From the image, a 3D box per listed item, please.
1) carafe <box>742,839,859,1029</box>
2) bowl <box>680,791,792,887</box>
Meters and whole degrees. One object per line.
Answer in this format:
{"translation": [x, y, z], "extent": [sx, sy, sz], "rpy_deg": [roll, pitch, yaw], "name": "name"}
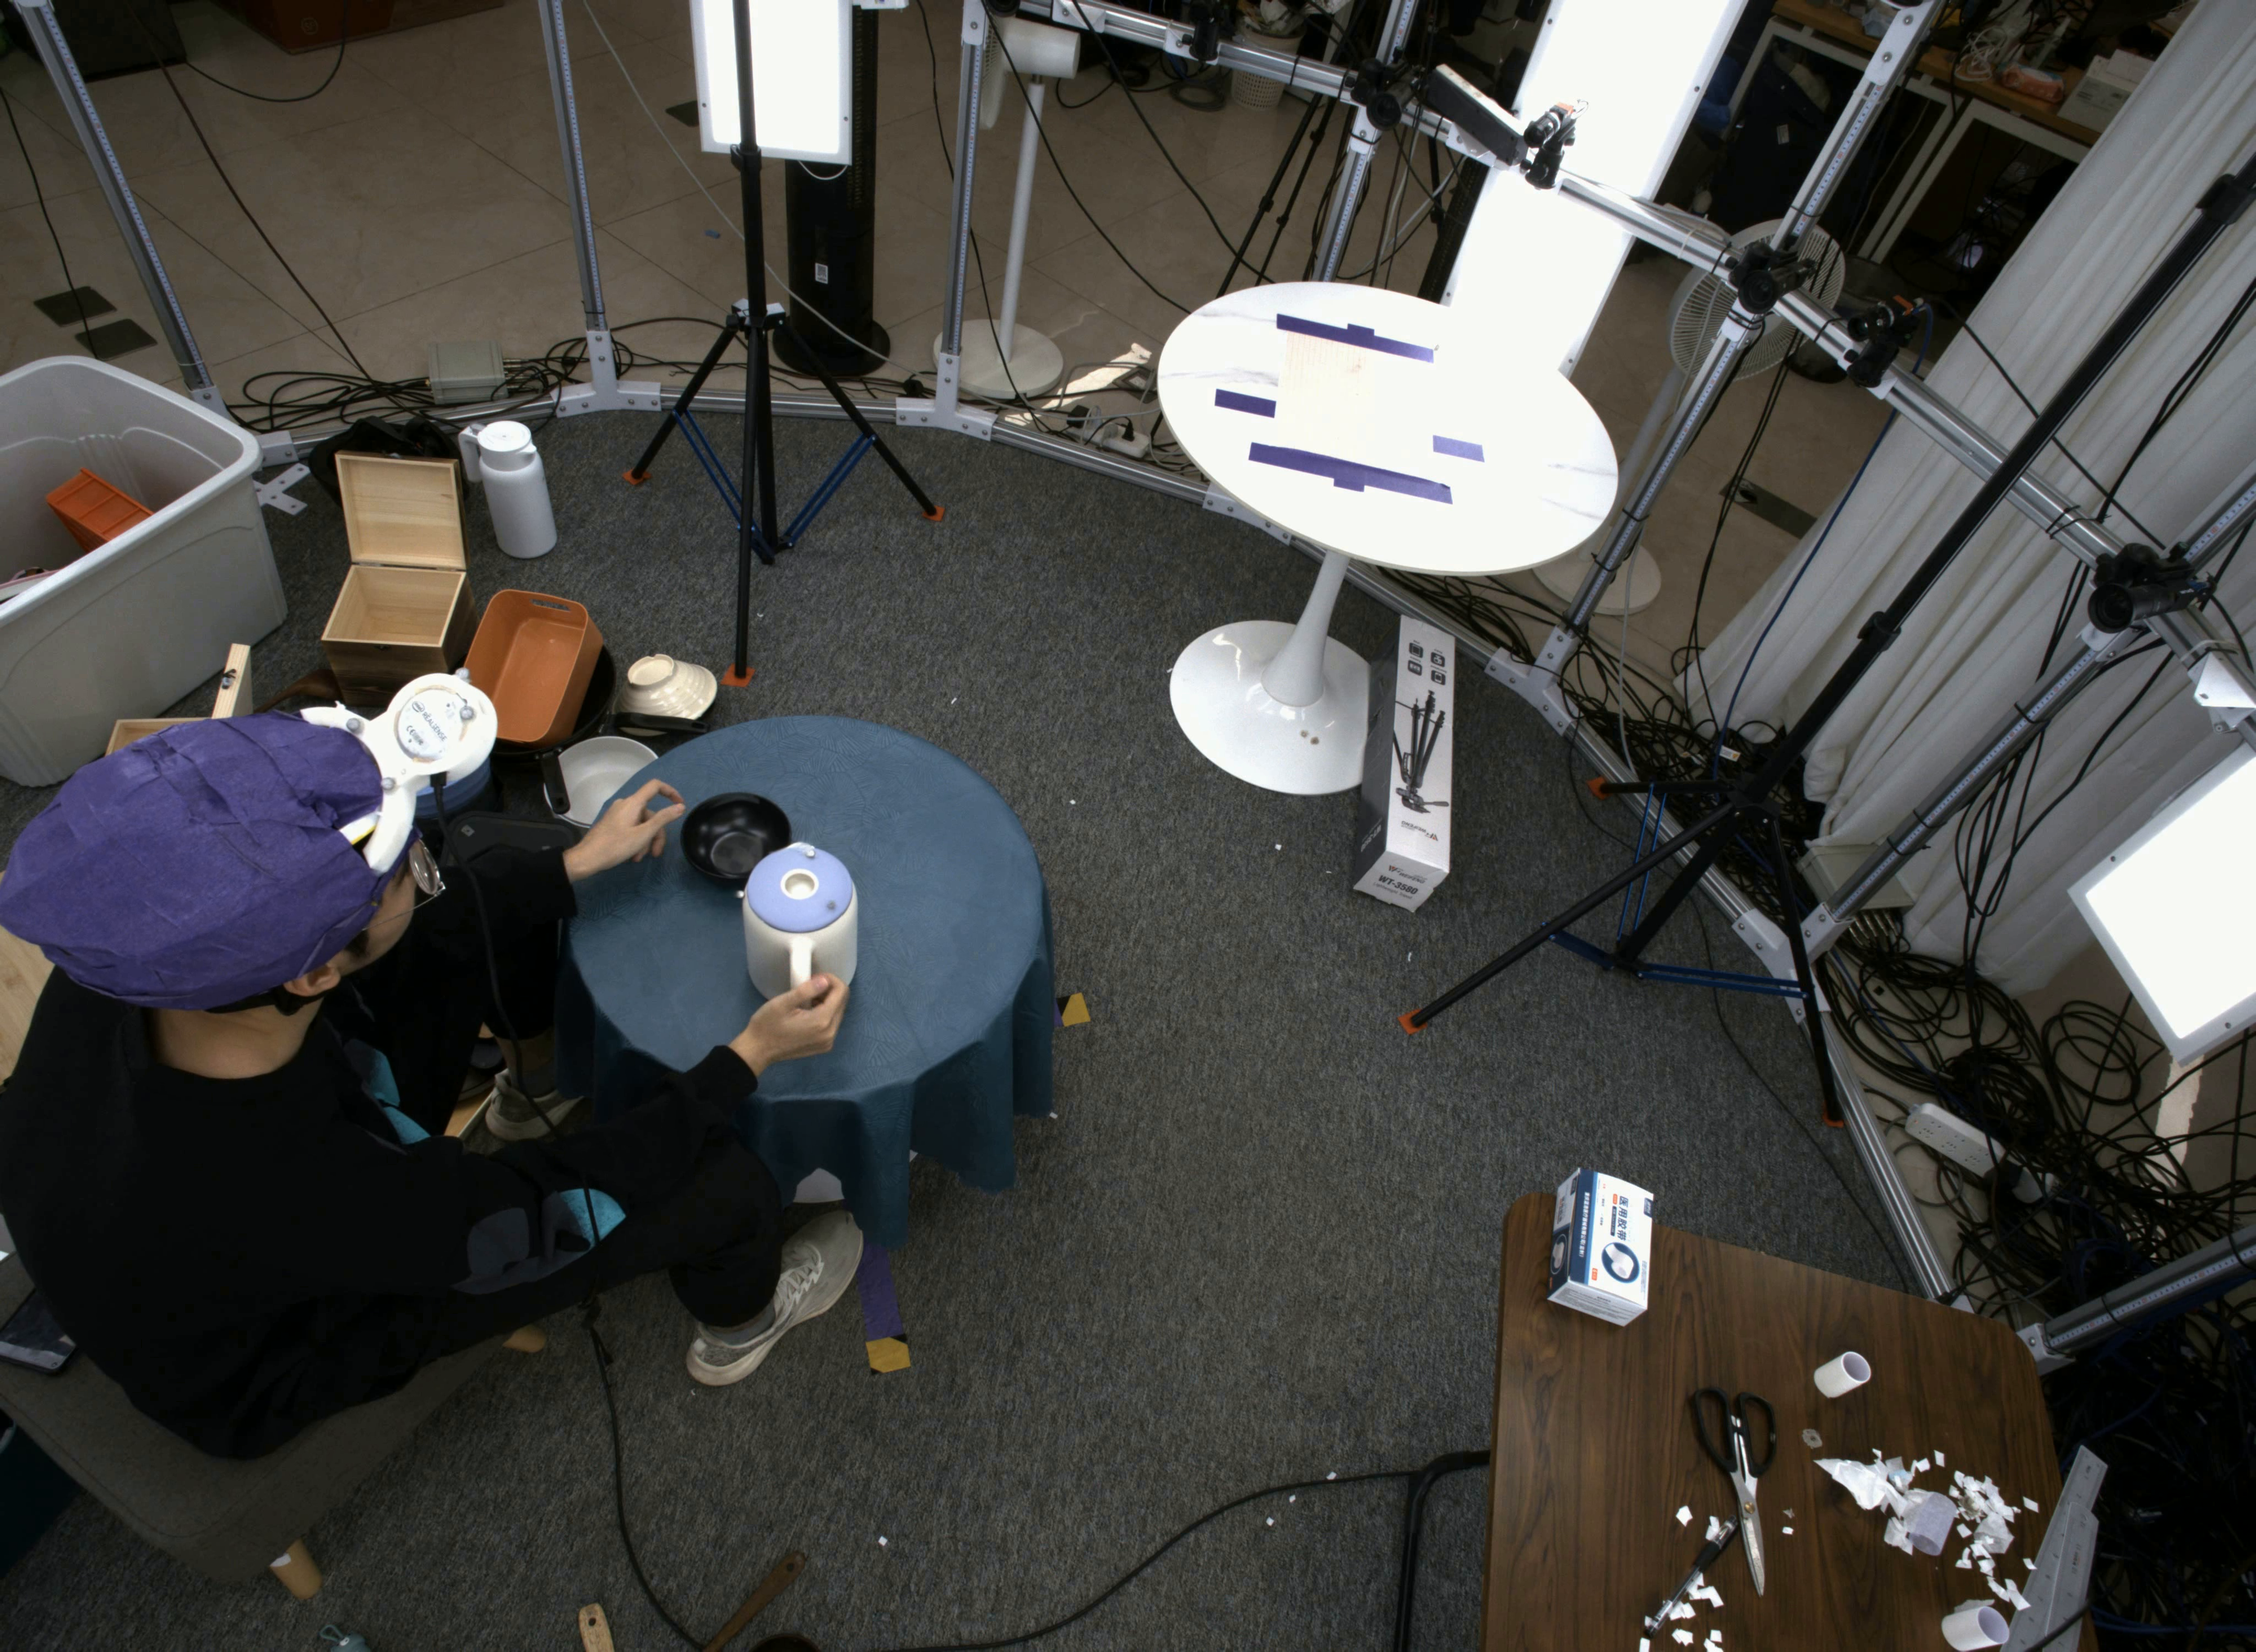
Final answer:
{"translation": [-0.383, 0.138, 1.528], "extent": [0.132, 0.186, 0.187], "rpy_deg": [-3, 56, -14], "name": "carafe"}
{"translation": [-0.502, 0.024, 1.661], "extent": [0.140, 0.051, 0.137], "rpy_deg": [7, 54, -9], "name": "bowl"}
